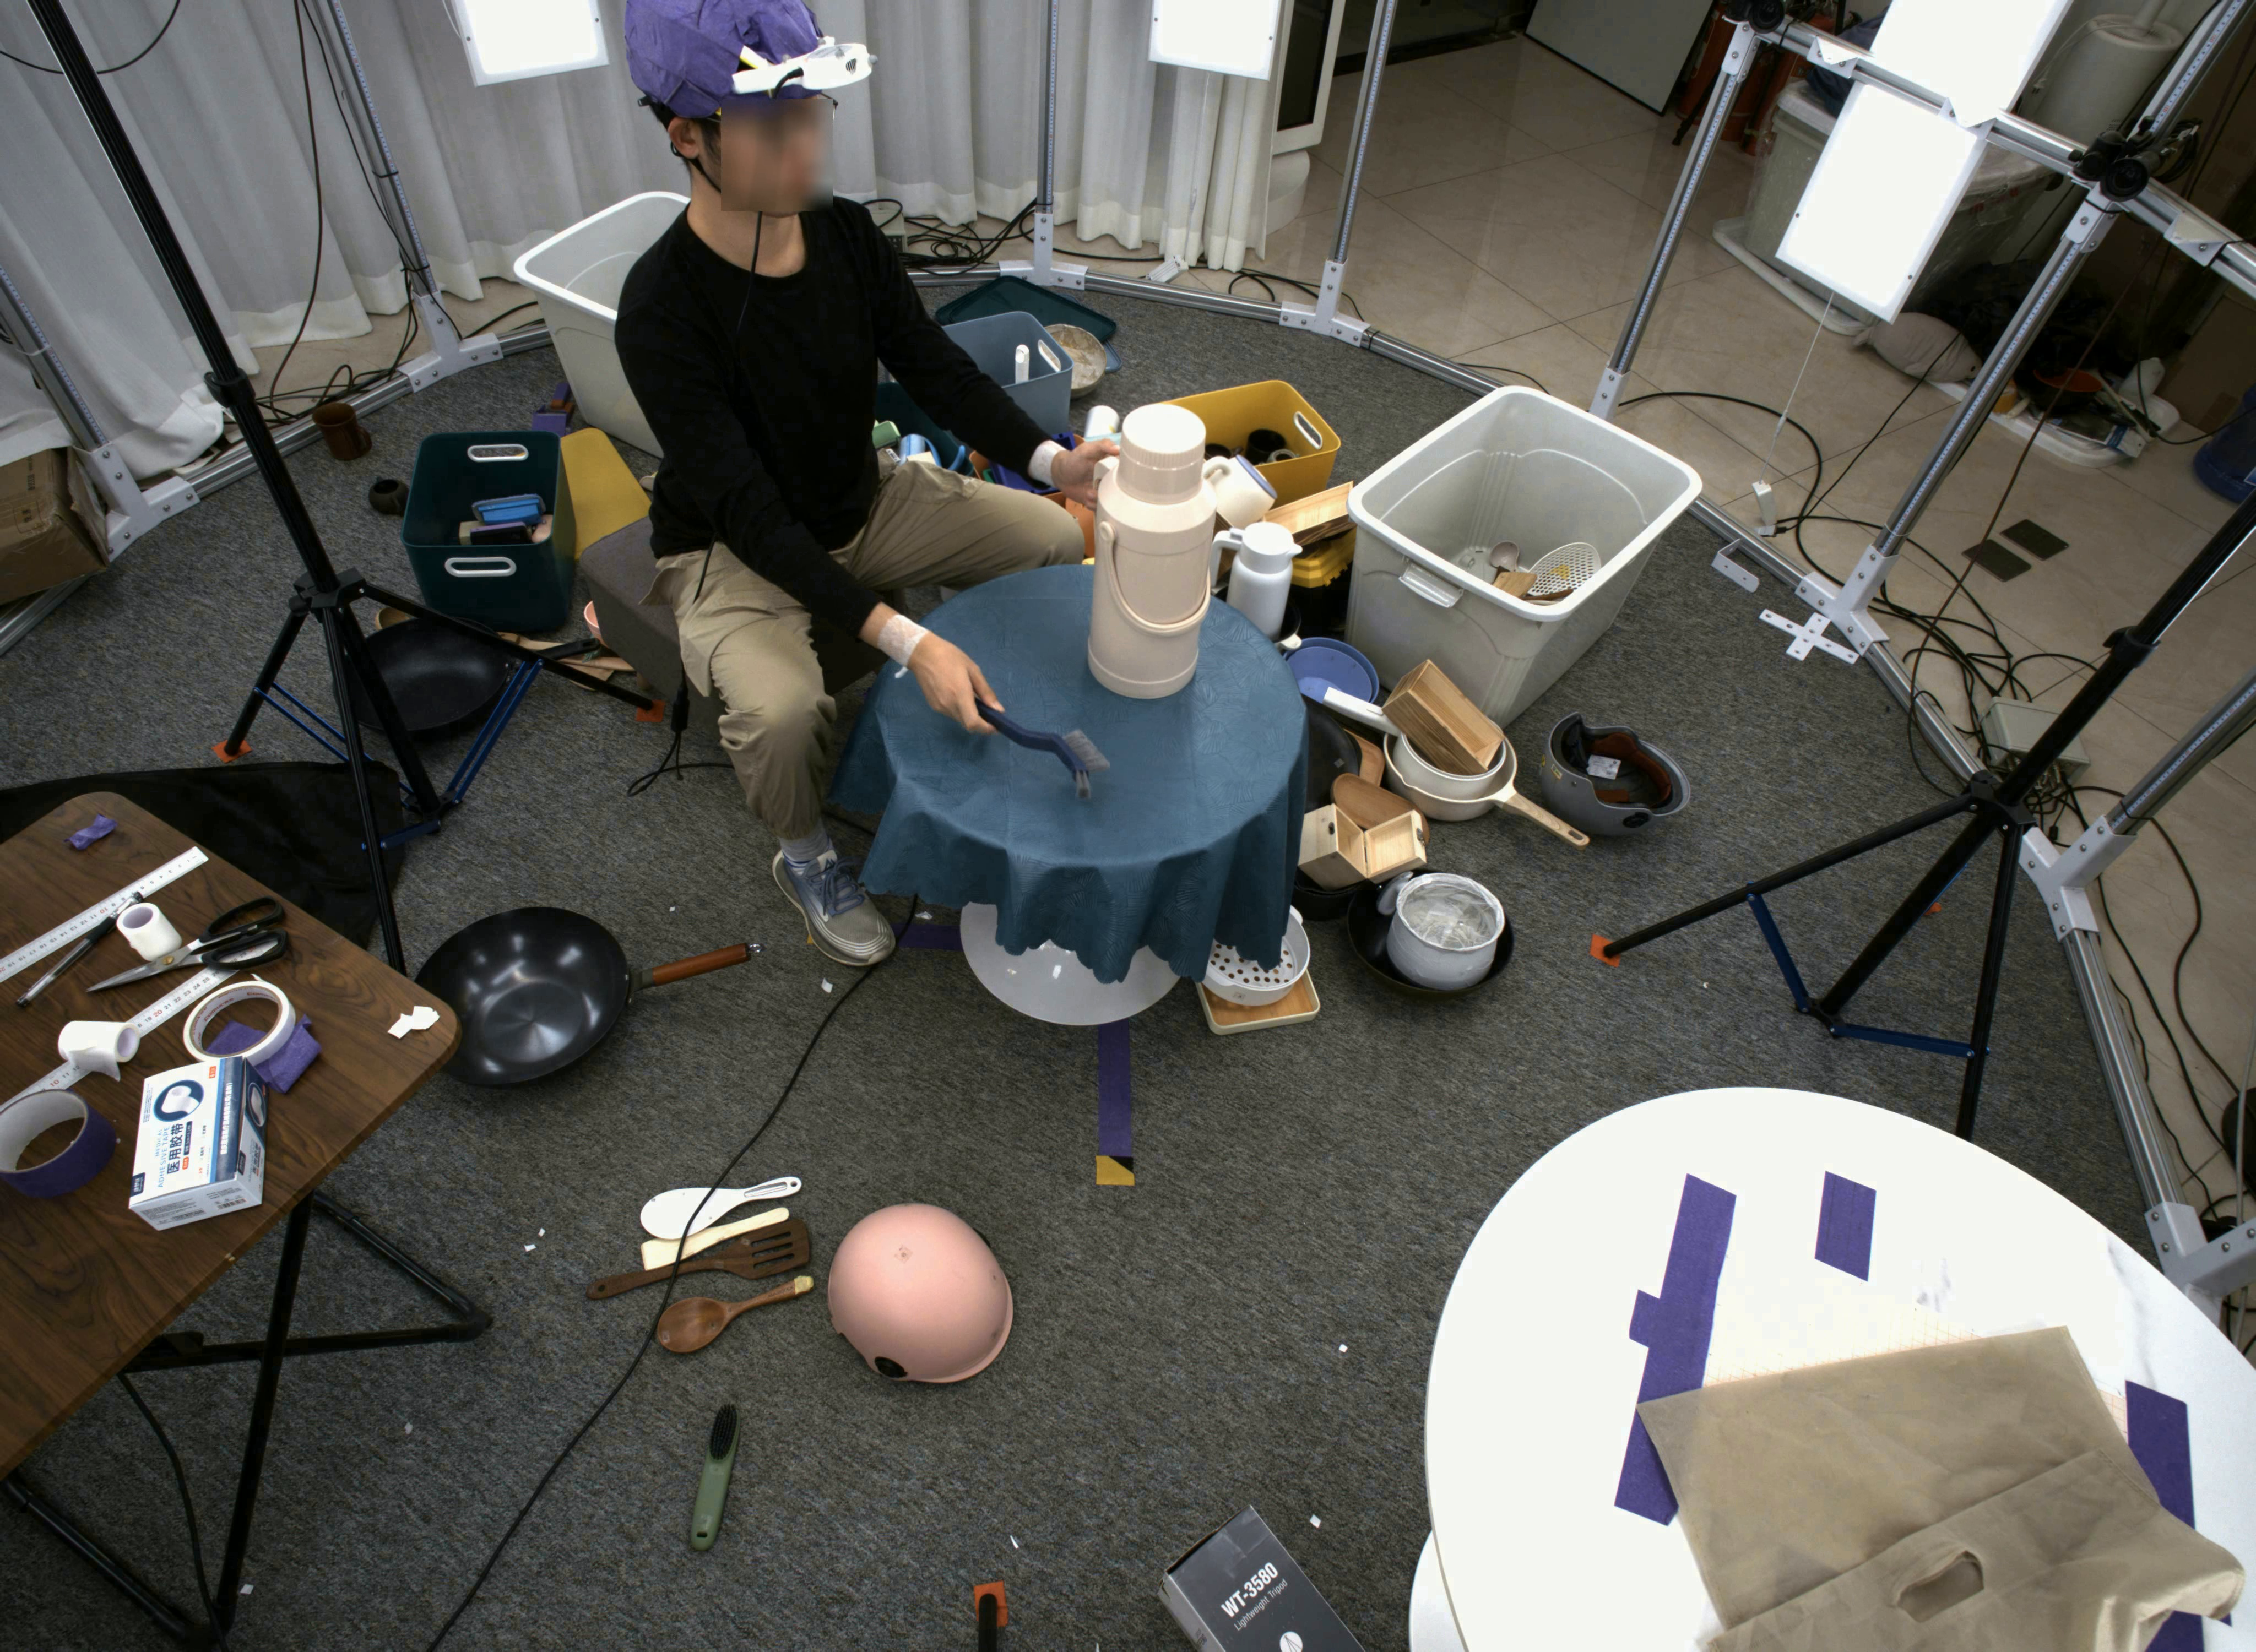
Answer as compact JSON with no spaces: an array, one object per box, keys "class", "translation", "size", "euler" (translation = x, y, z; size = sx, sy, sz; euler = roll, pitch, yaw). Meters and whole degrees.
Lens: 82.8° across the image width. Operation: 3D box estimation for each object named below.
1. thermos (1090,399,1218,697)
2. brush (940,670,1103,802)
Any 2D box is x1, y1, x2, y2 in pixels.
[{"class":"thermos","translation":[0.026,-0.378,1.744],"size":[0.176,0.396,0.210],"euler":[-31,59,-25]},{"class":"brush","translation":[-0.154,-0.123,1.682],"size":[0.276,0.033,0.097],"euler":[27,52,20]}]
